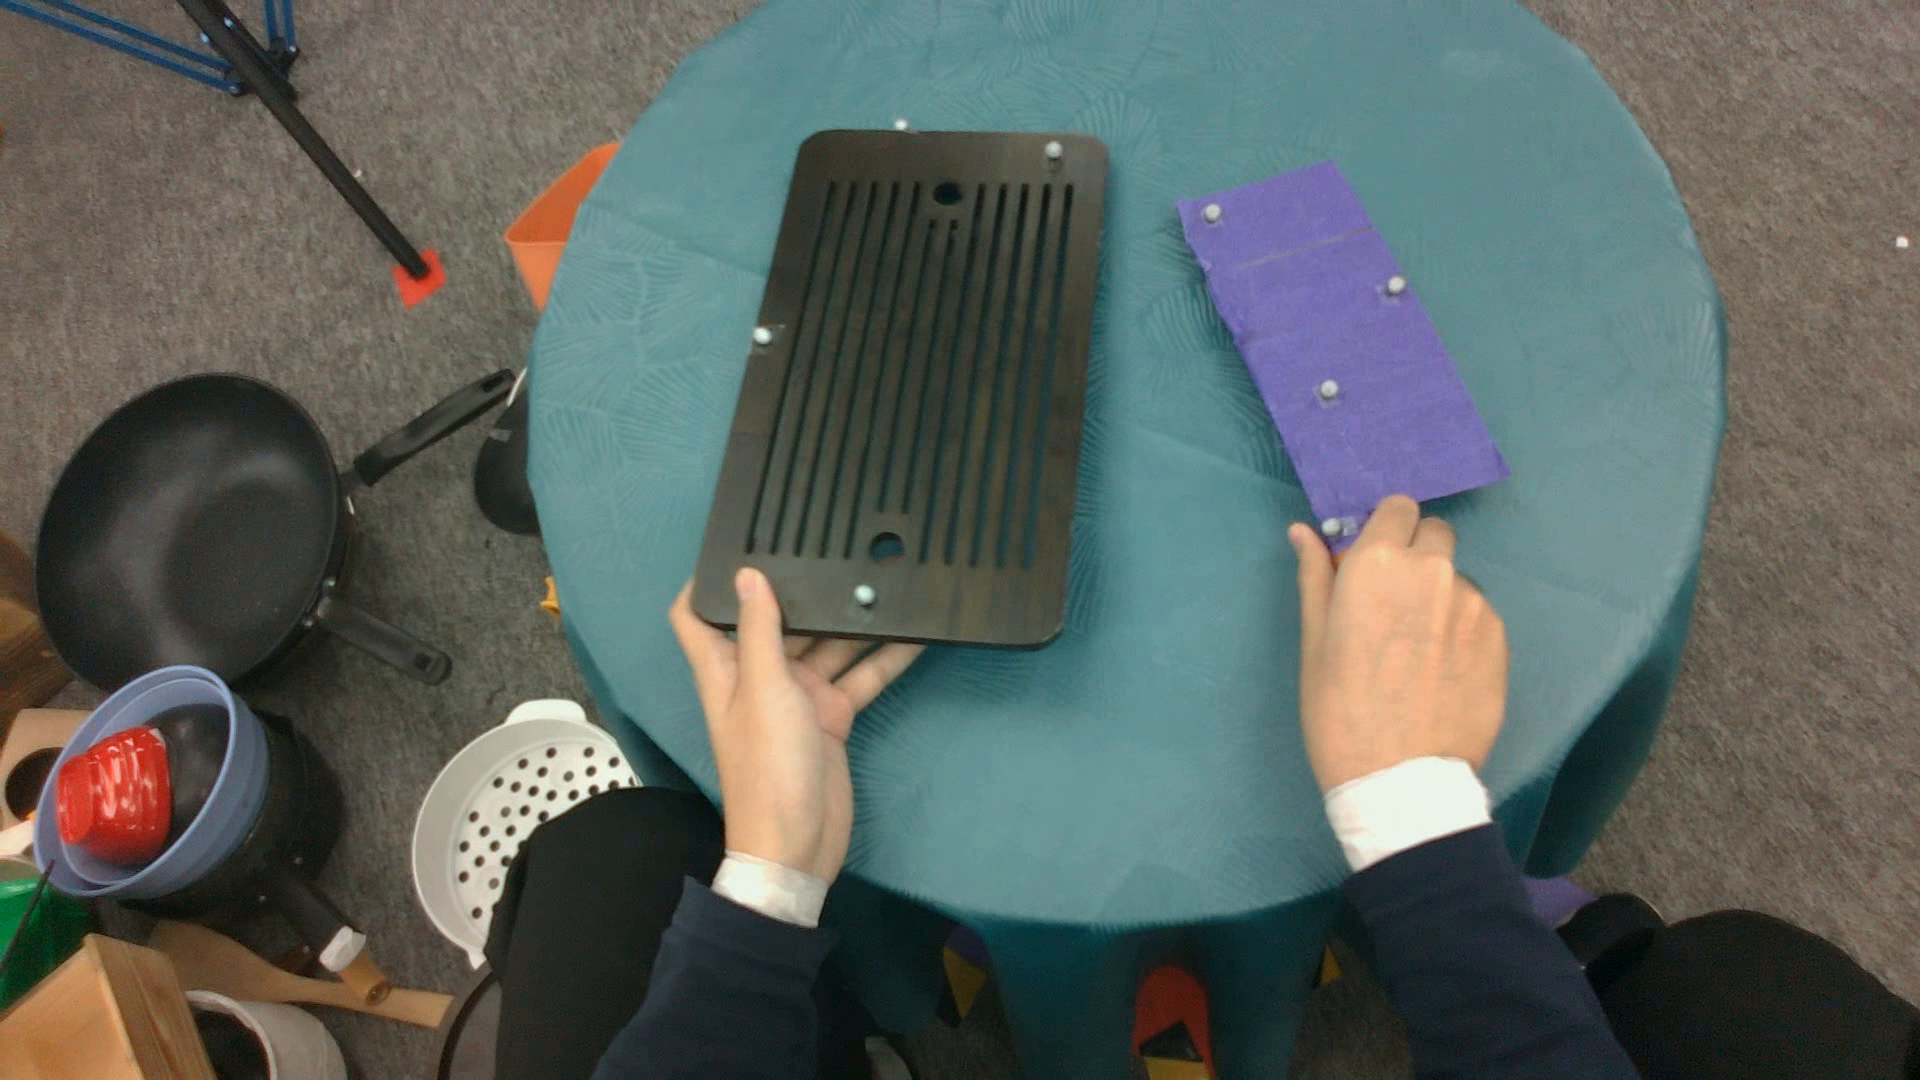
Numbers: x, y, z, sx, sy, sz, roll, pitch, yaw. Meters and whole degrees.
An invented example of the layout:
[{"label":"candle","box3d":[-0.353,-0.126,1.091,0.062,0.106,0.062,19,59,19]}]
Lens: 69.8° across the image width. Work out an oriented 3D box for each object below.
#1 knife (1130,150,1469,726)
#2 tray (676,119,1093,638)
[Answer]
[{"label":"knife","box3d":[0.178,-0.068,0.648,0.104,0.032,0.316,-16,62,-2]},{"label":"tray","box3d":[-0.028,-0.093,0.681,0.170,0.018,0.307,3,61,8]}]
